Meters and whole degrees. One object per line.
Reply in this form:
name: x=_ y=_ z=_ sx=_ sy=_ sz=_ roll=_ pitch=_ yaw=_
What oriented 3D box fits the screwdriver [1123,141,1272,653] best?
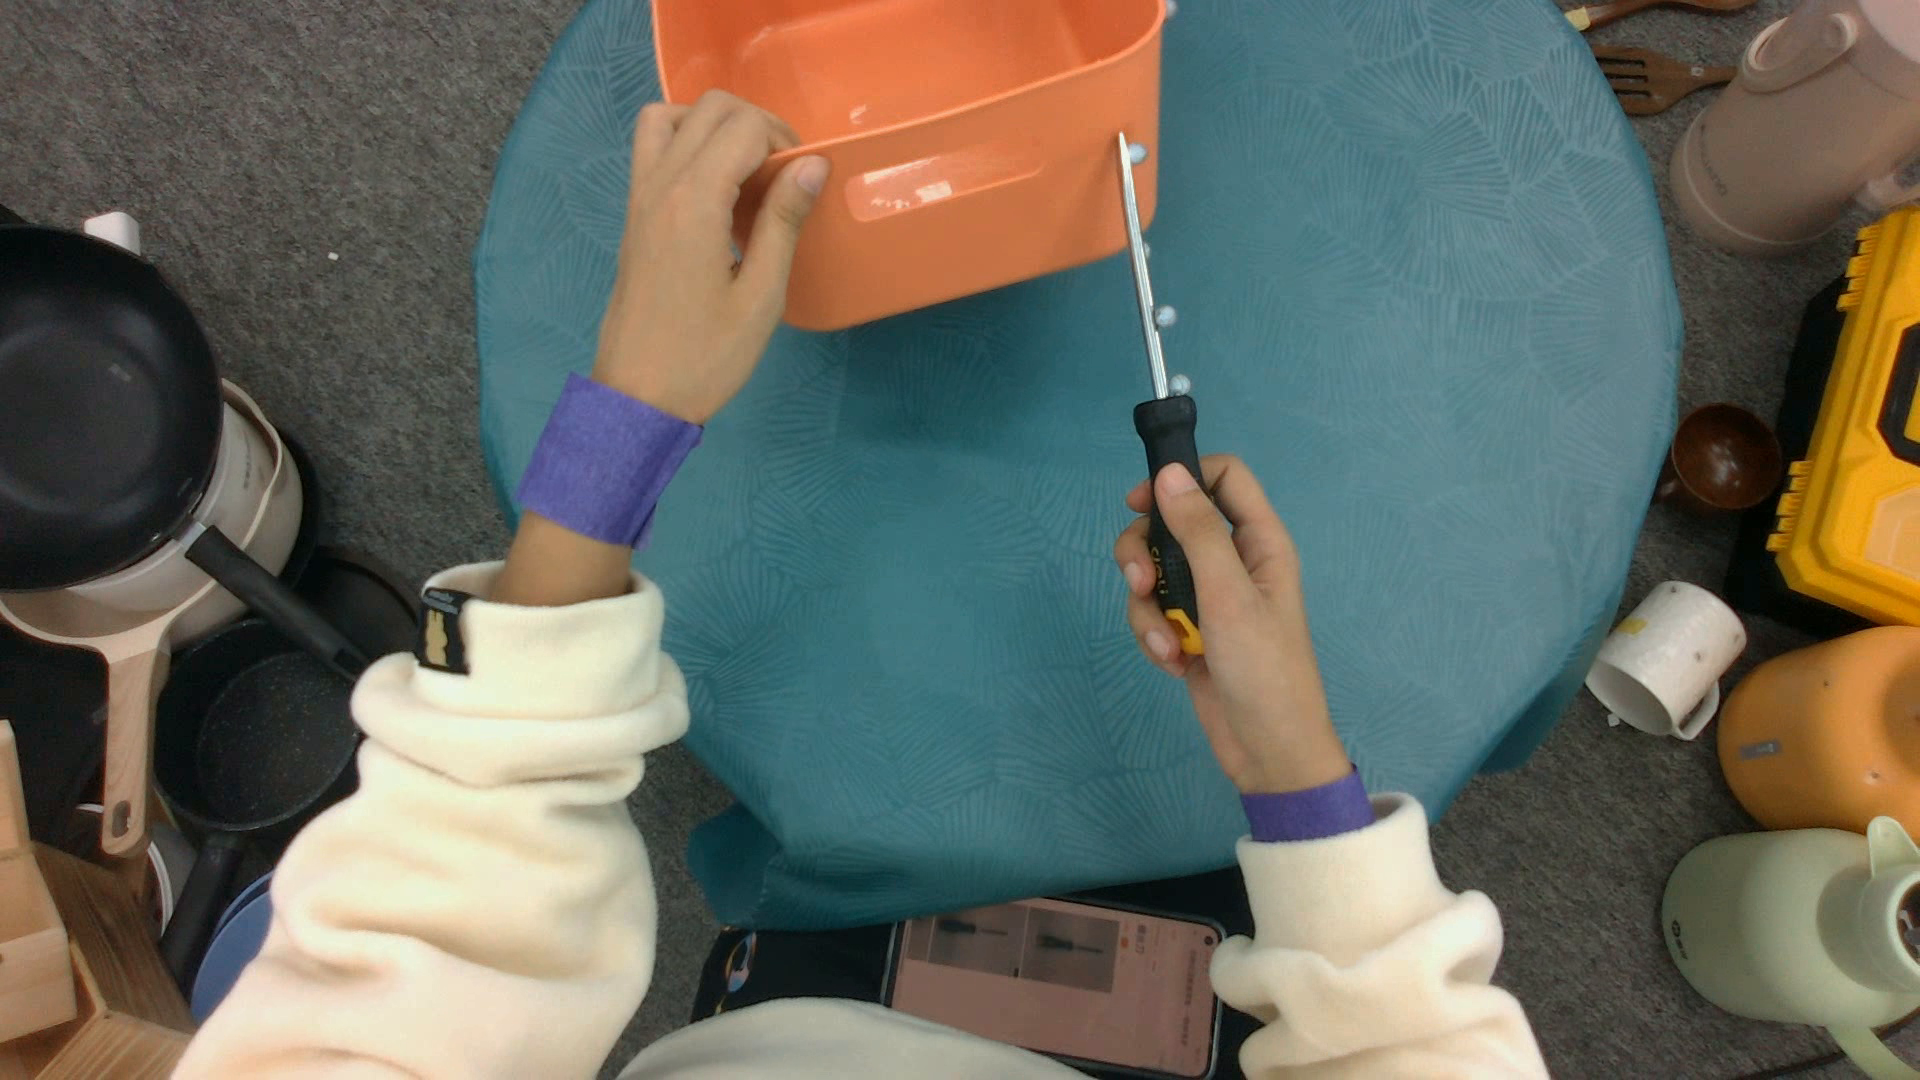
screwdriver: x=0.086 y=-0.053 z=0.518 sx=0.031 sy=0.031 sz=0.197 roll=-15 pitch=97 yaw=-4

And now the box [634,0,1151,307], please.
box: x=-0.035 y=-0.228 z=0.615 sx=0.199 sy=0.102 sz=0.274 roll=-14 pitch=49 yaw=-2
